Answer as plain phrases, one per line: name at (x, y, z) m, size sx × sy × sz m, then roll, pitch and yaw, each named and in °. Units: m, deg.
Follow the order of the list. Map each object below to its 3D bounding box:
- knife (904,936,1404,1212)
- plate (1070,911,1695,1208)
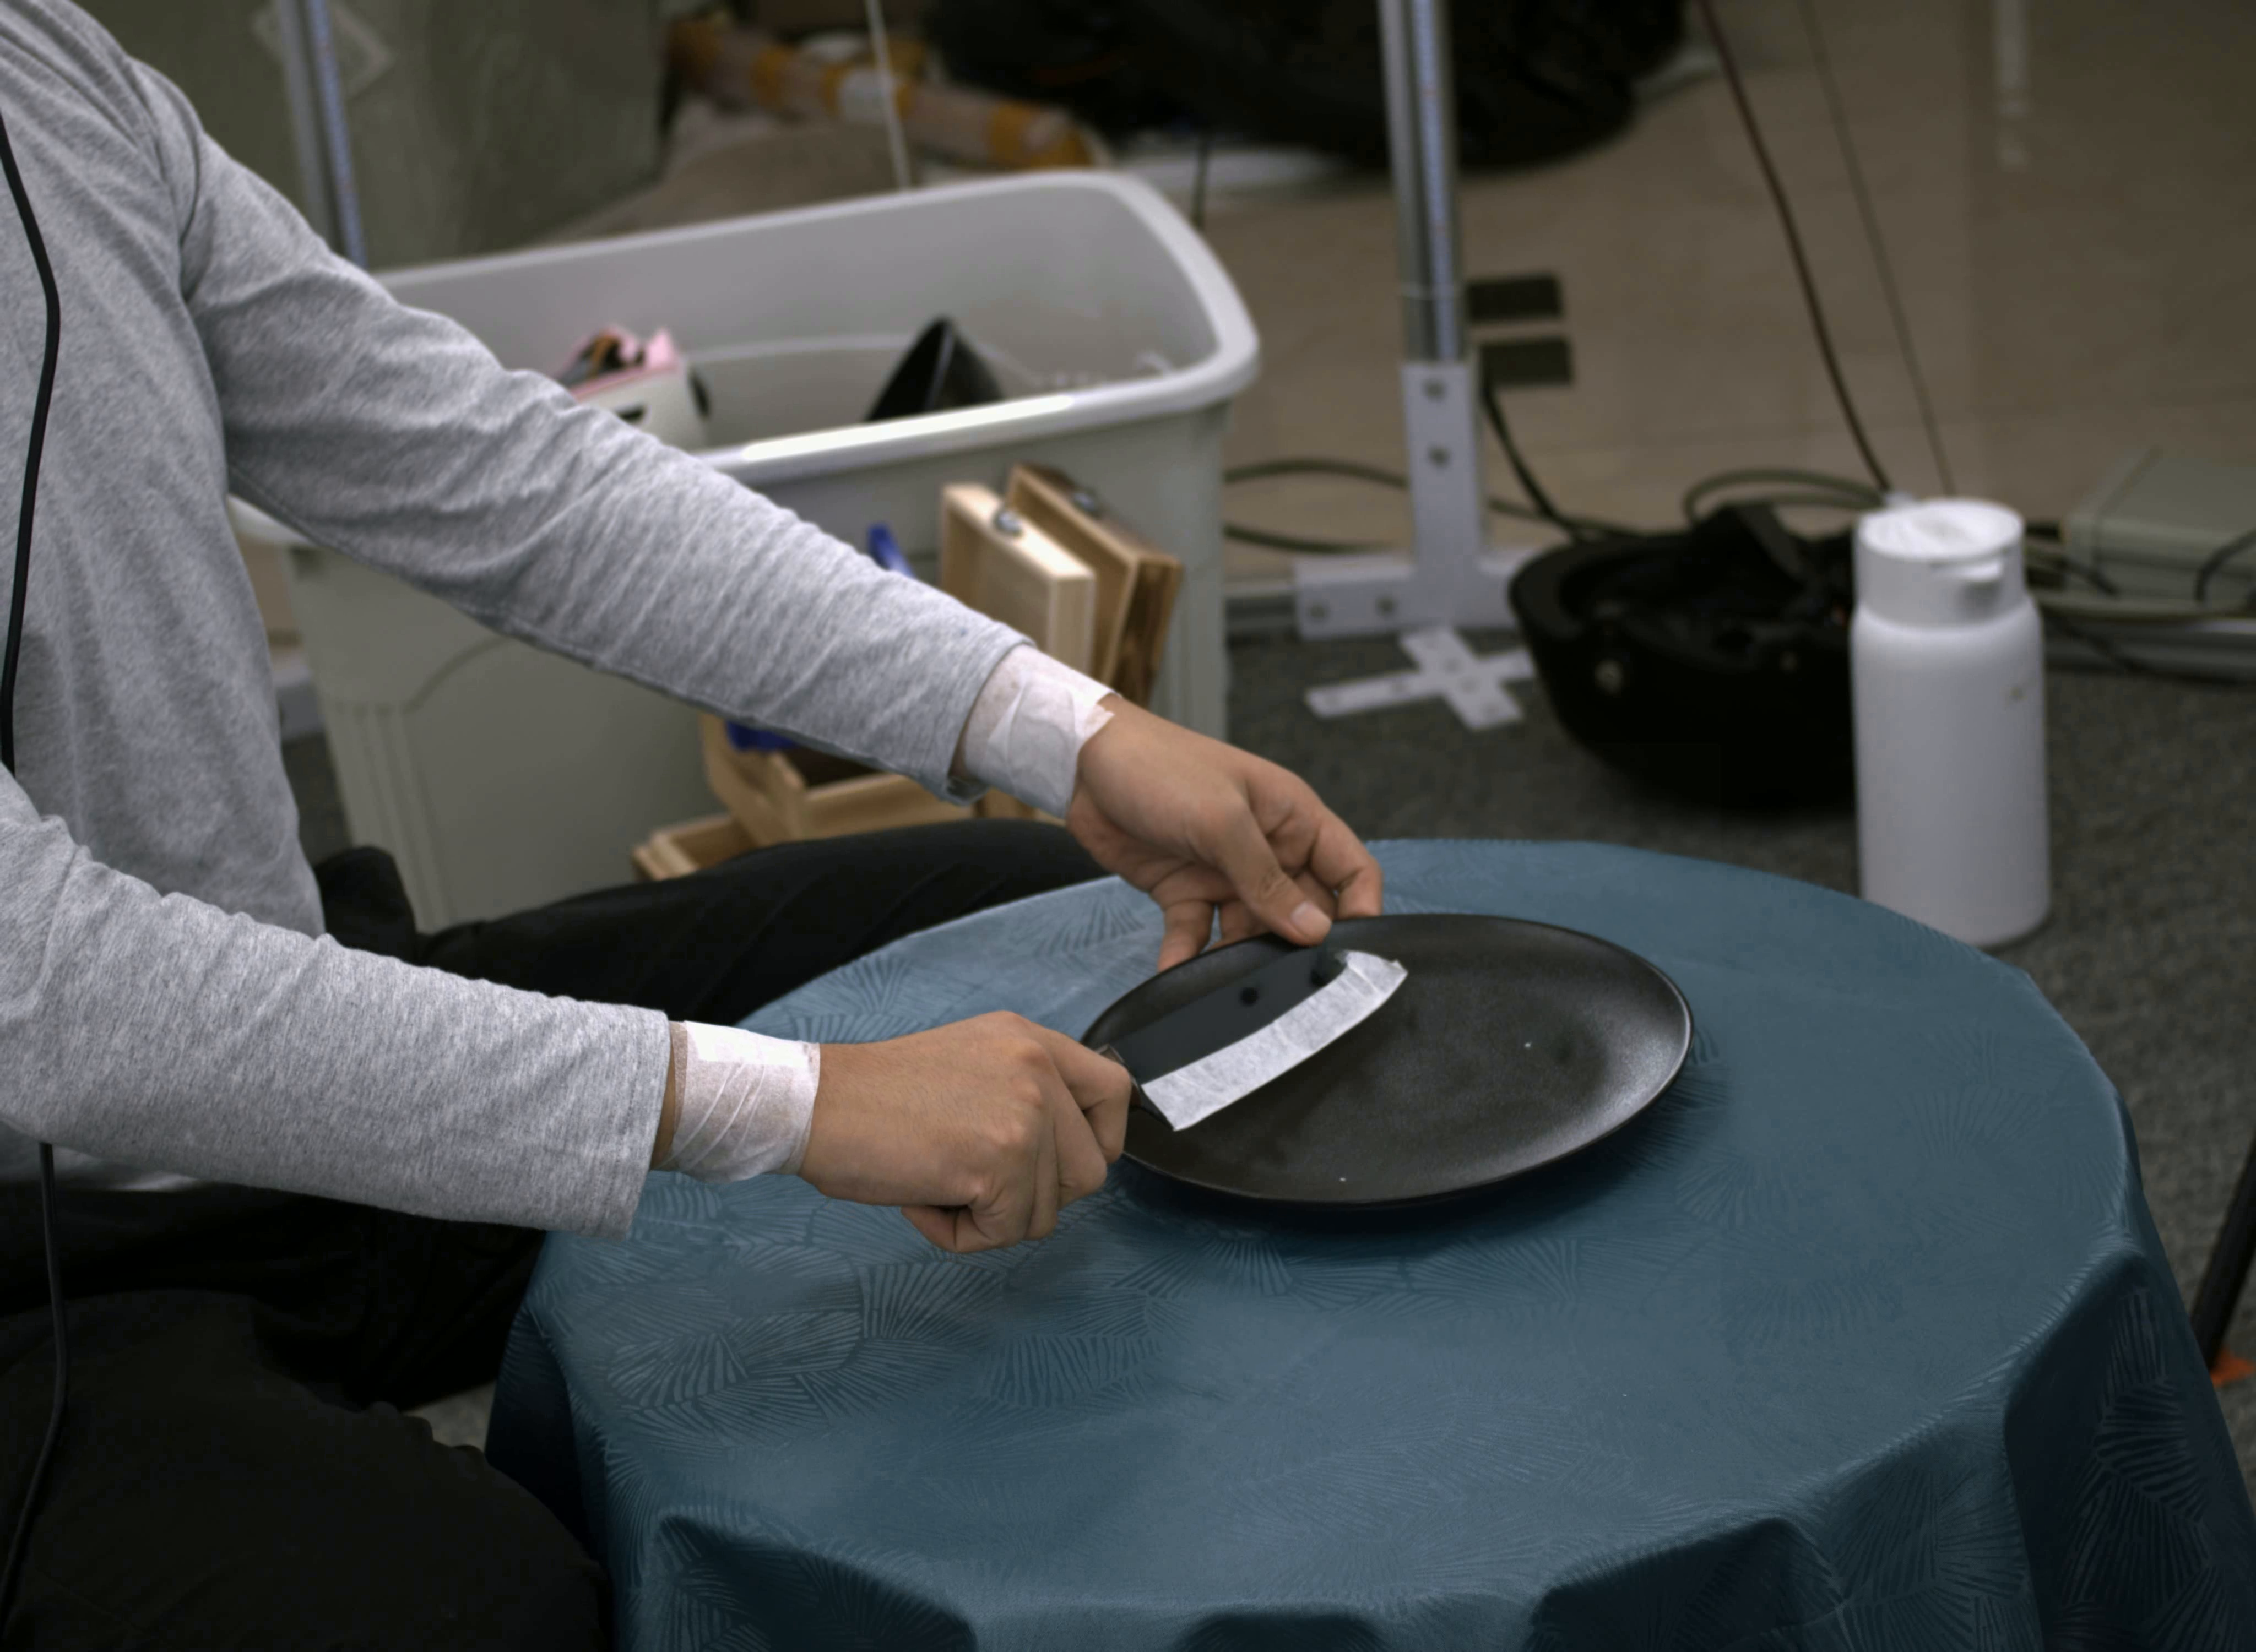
knife at (0.016, 0.092, 2.153) m, size 0.287 × 0.020 × 0.050 m, roll -23°, pitch 68°, yaw -46°
plate at (0.098, 0.095, 2.194) m, size 0.244 × 0.024 × 0.241 m, roll -5°, pitch 25°, yaw 3°
